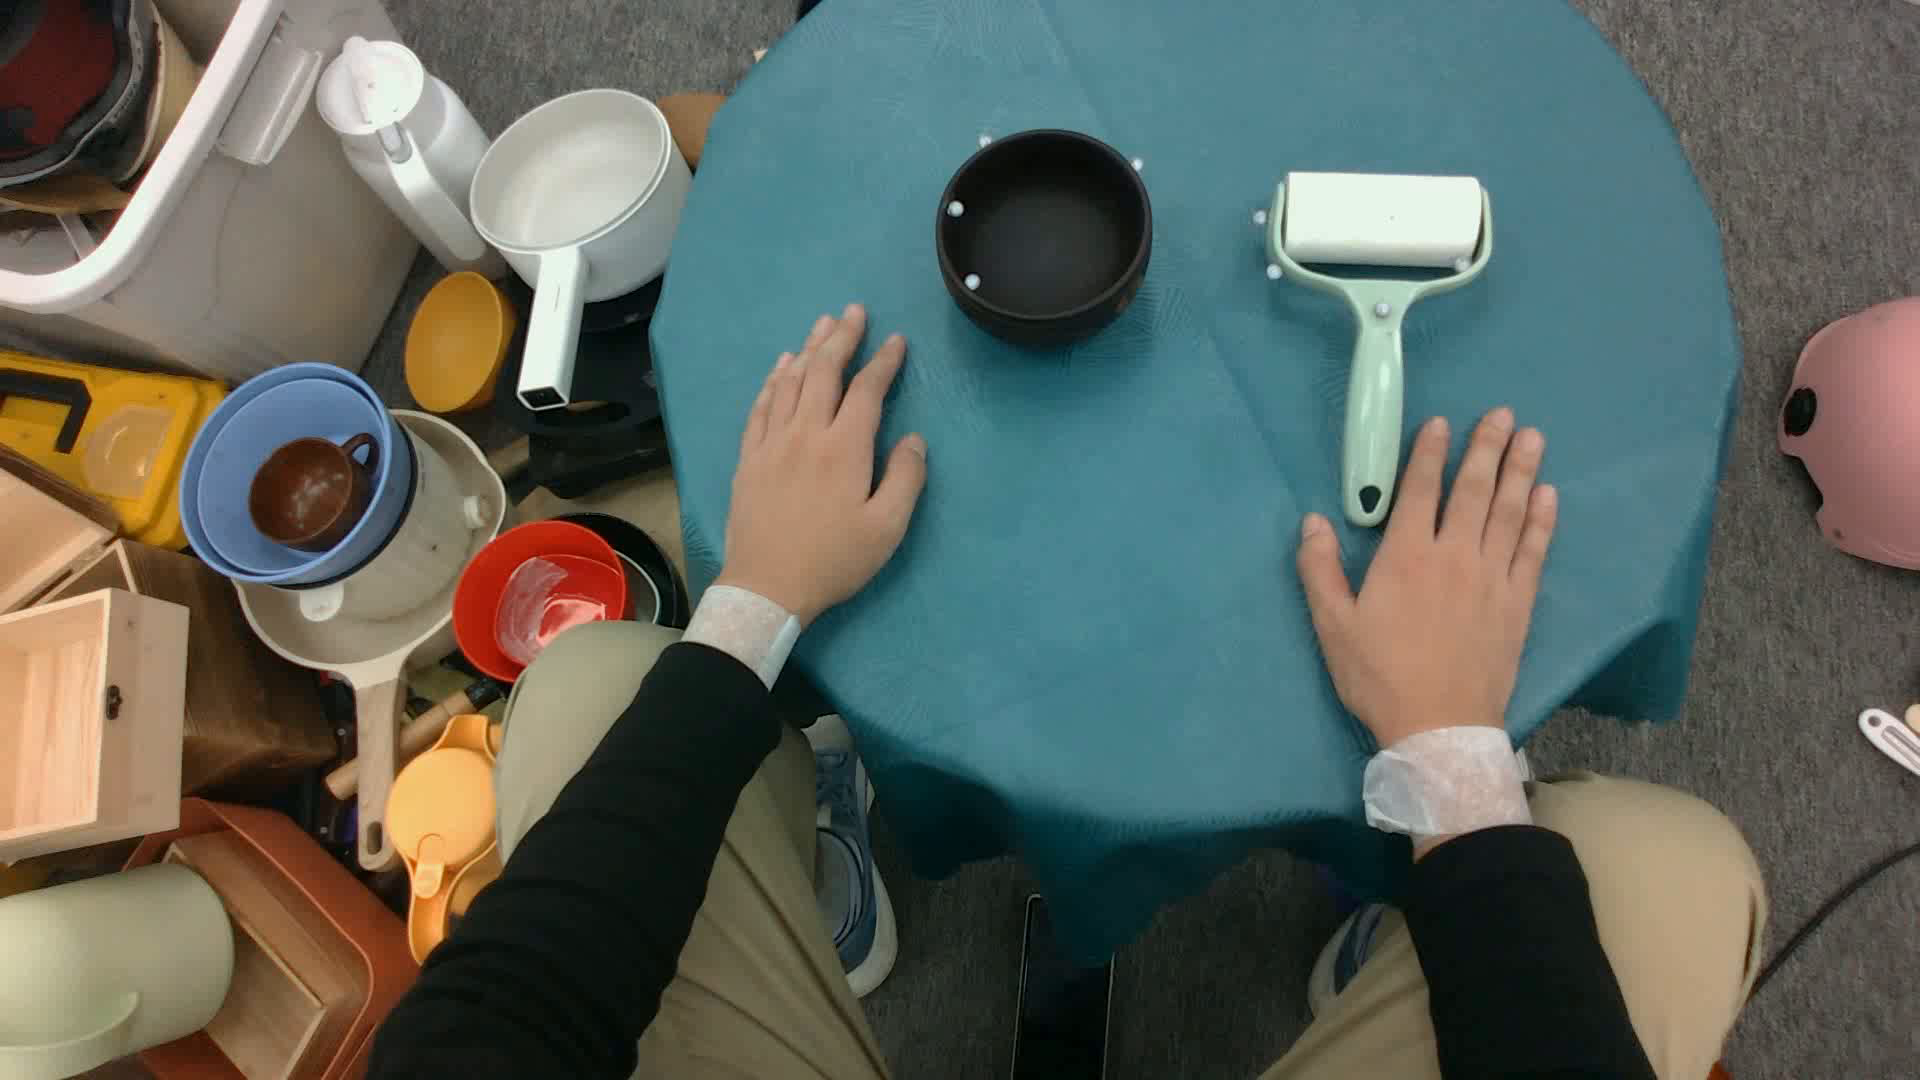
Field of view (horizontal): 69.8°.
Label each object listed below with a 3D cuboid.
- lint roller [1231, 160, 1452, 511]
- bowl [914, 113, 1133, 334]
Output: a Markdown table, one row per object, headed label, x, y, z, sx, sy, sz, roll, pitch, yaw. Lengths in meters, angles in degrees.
| label | x | y | z | sx | sy | sz | roll | pitch | yaw |
| --- | --- | --- | --- | --- | --- | --- | --- | --- | --- |
| lint roller | 0.204 | -0.115 | 0.744 | 0.116 | 0.048 | 0.198 | 3 | 75 | 4 |
| bowl | 0.035 | -0.167 | 0.758 | 0.118 | 0.069 | 0.118 | -1 | 74 | 3 |
